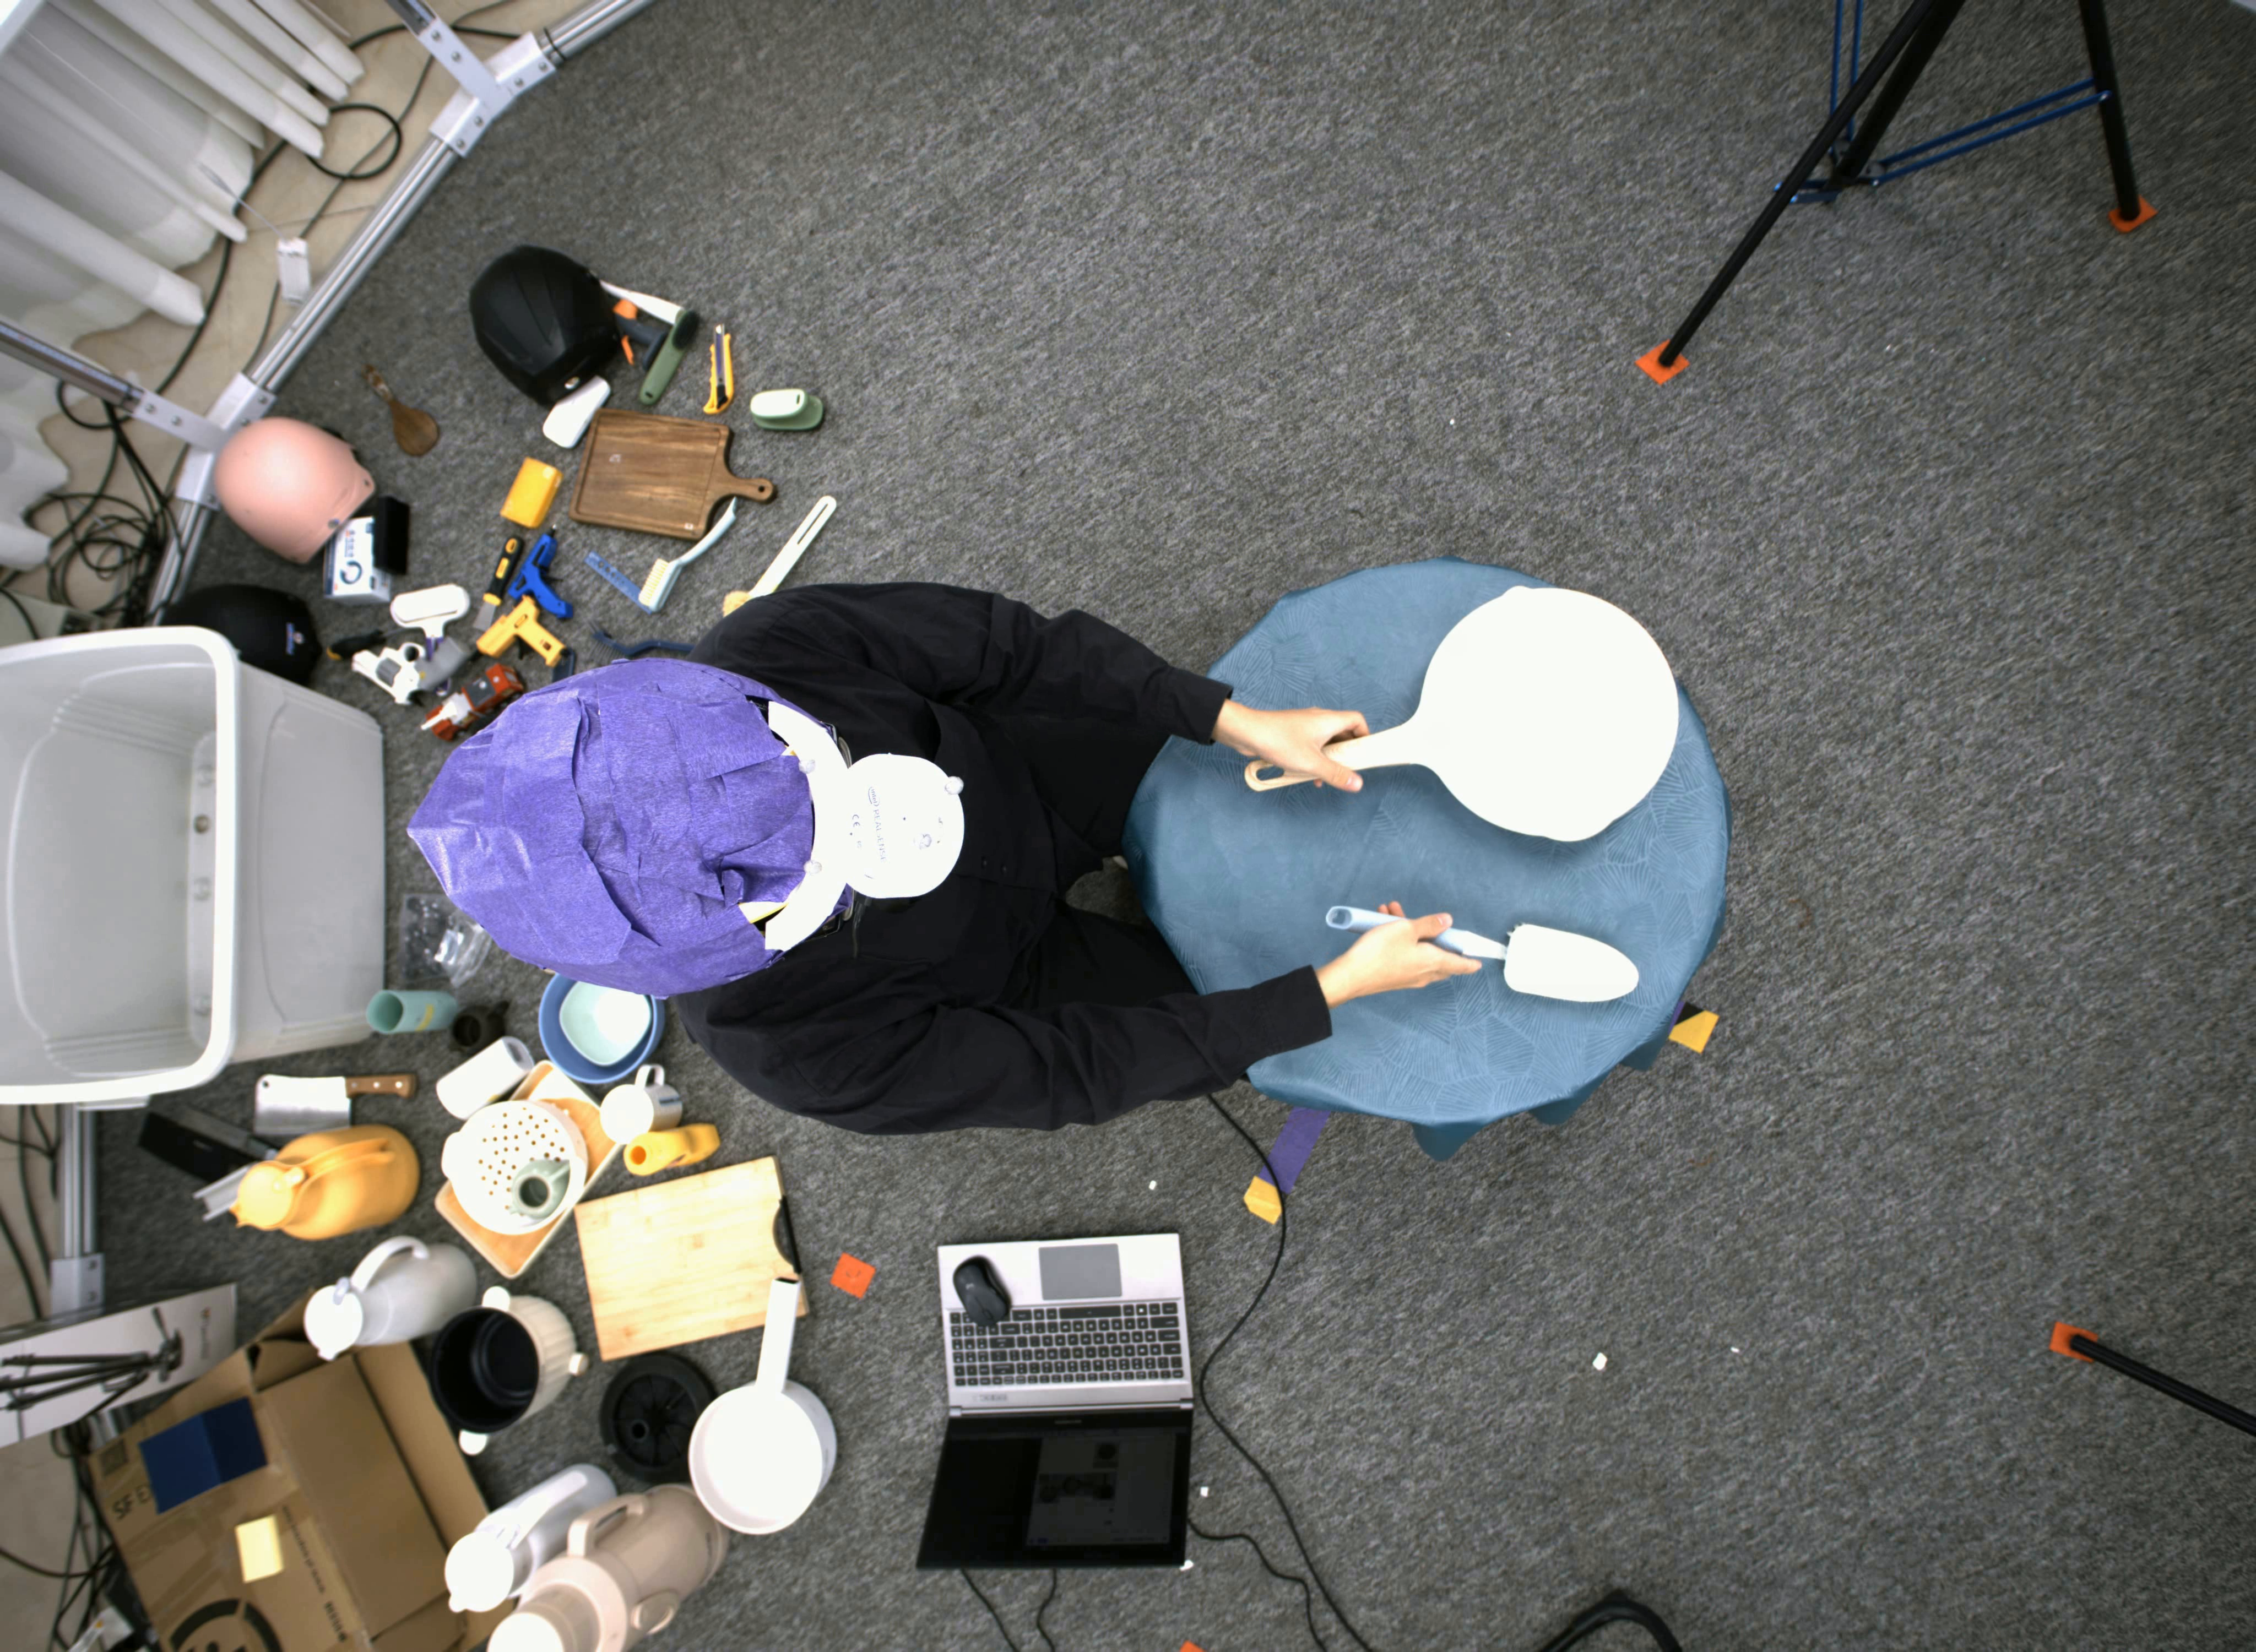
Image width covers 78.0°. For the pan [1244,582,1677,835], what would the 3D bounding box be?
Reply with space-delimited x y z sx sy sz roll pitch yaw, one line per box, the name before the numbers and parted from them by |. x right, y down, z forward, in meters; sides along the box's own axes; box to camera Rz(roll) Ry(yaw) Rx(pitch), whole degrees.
pan | 0.333 -0.096 1.406 0.437 0.102 0.262 -14 85 9

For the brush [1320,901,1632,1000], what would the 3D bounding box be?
brush | 0.349 0.115 1.399 0.326 0.087 0.081 12 50 -2
